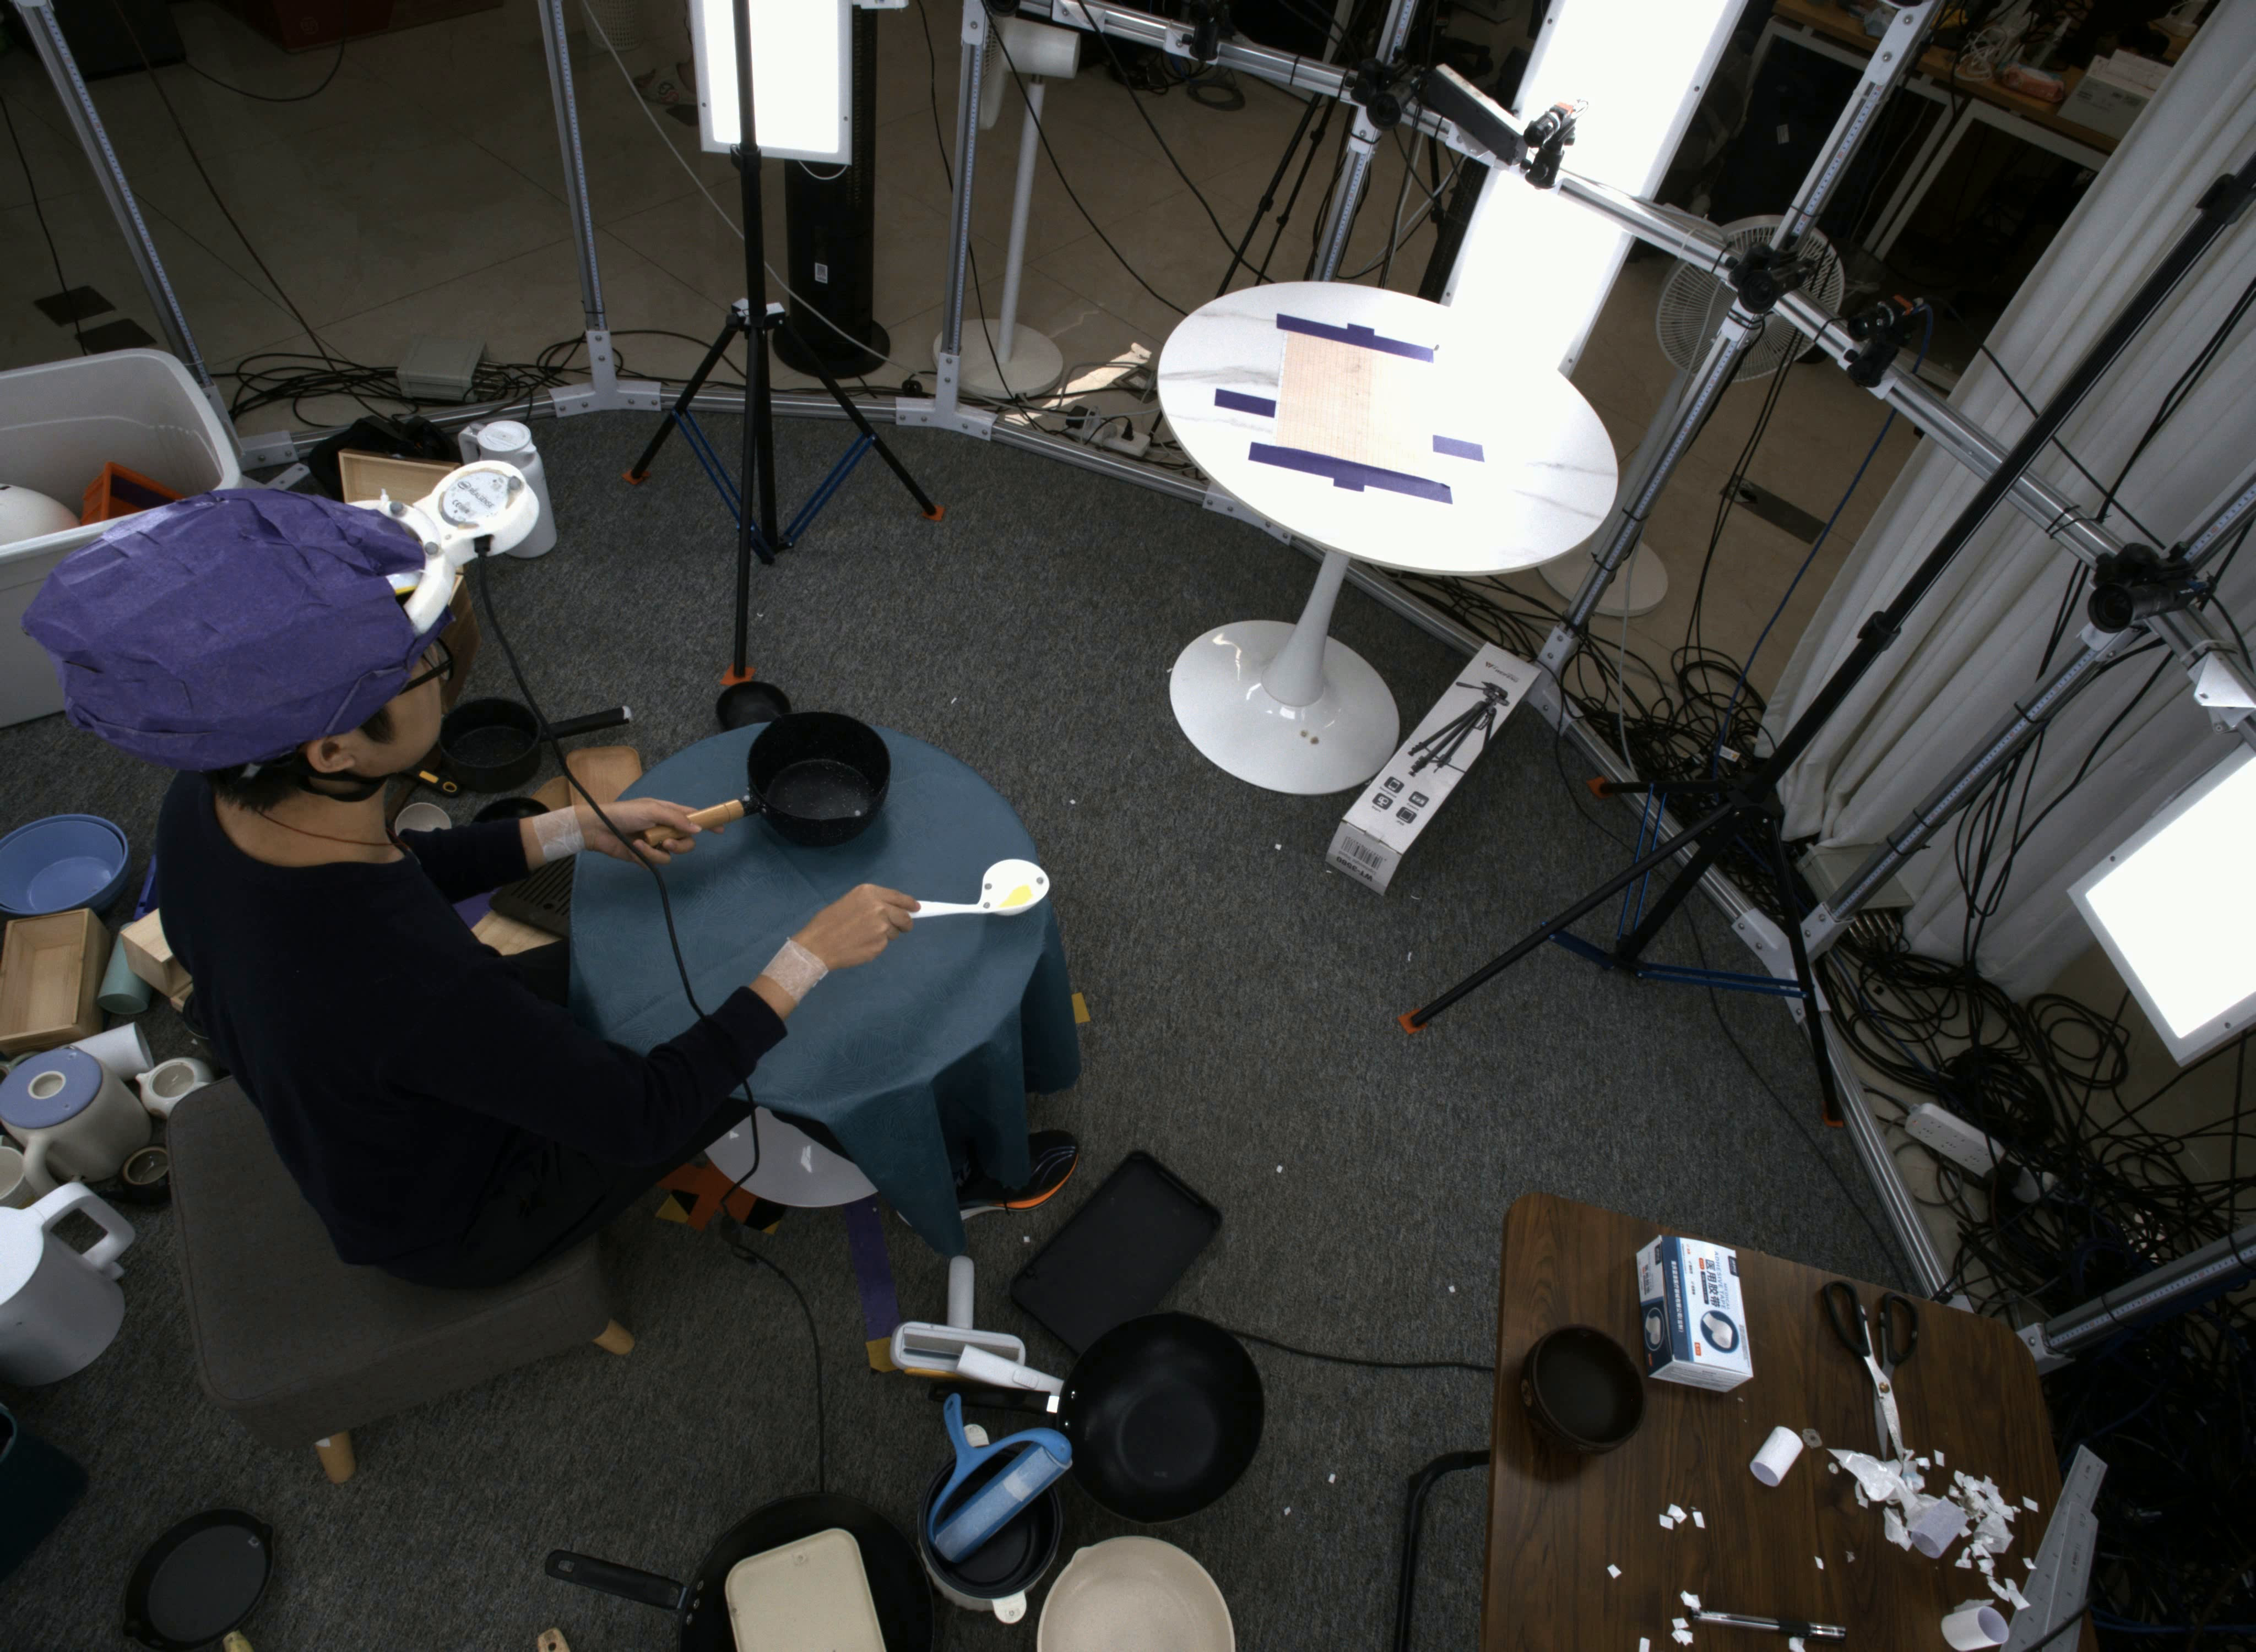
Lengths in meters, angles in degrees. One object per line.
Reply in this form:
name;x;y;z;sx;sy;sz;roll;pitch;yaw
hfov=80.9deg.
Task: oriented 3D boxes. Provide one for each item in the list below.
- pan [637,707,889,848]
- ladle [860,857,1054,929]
pan;-0.465;-0.030;1.655;0.344;0.110;0.203;-31;67;-33
ladle;-0.201;0.081;1.565;0.087;0.071;0.298;38;19;26
